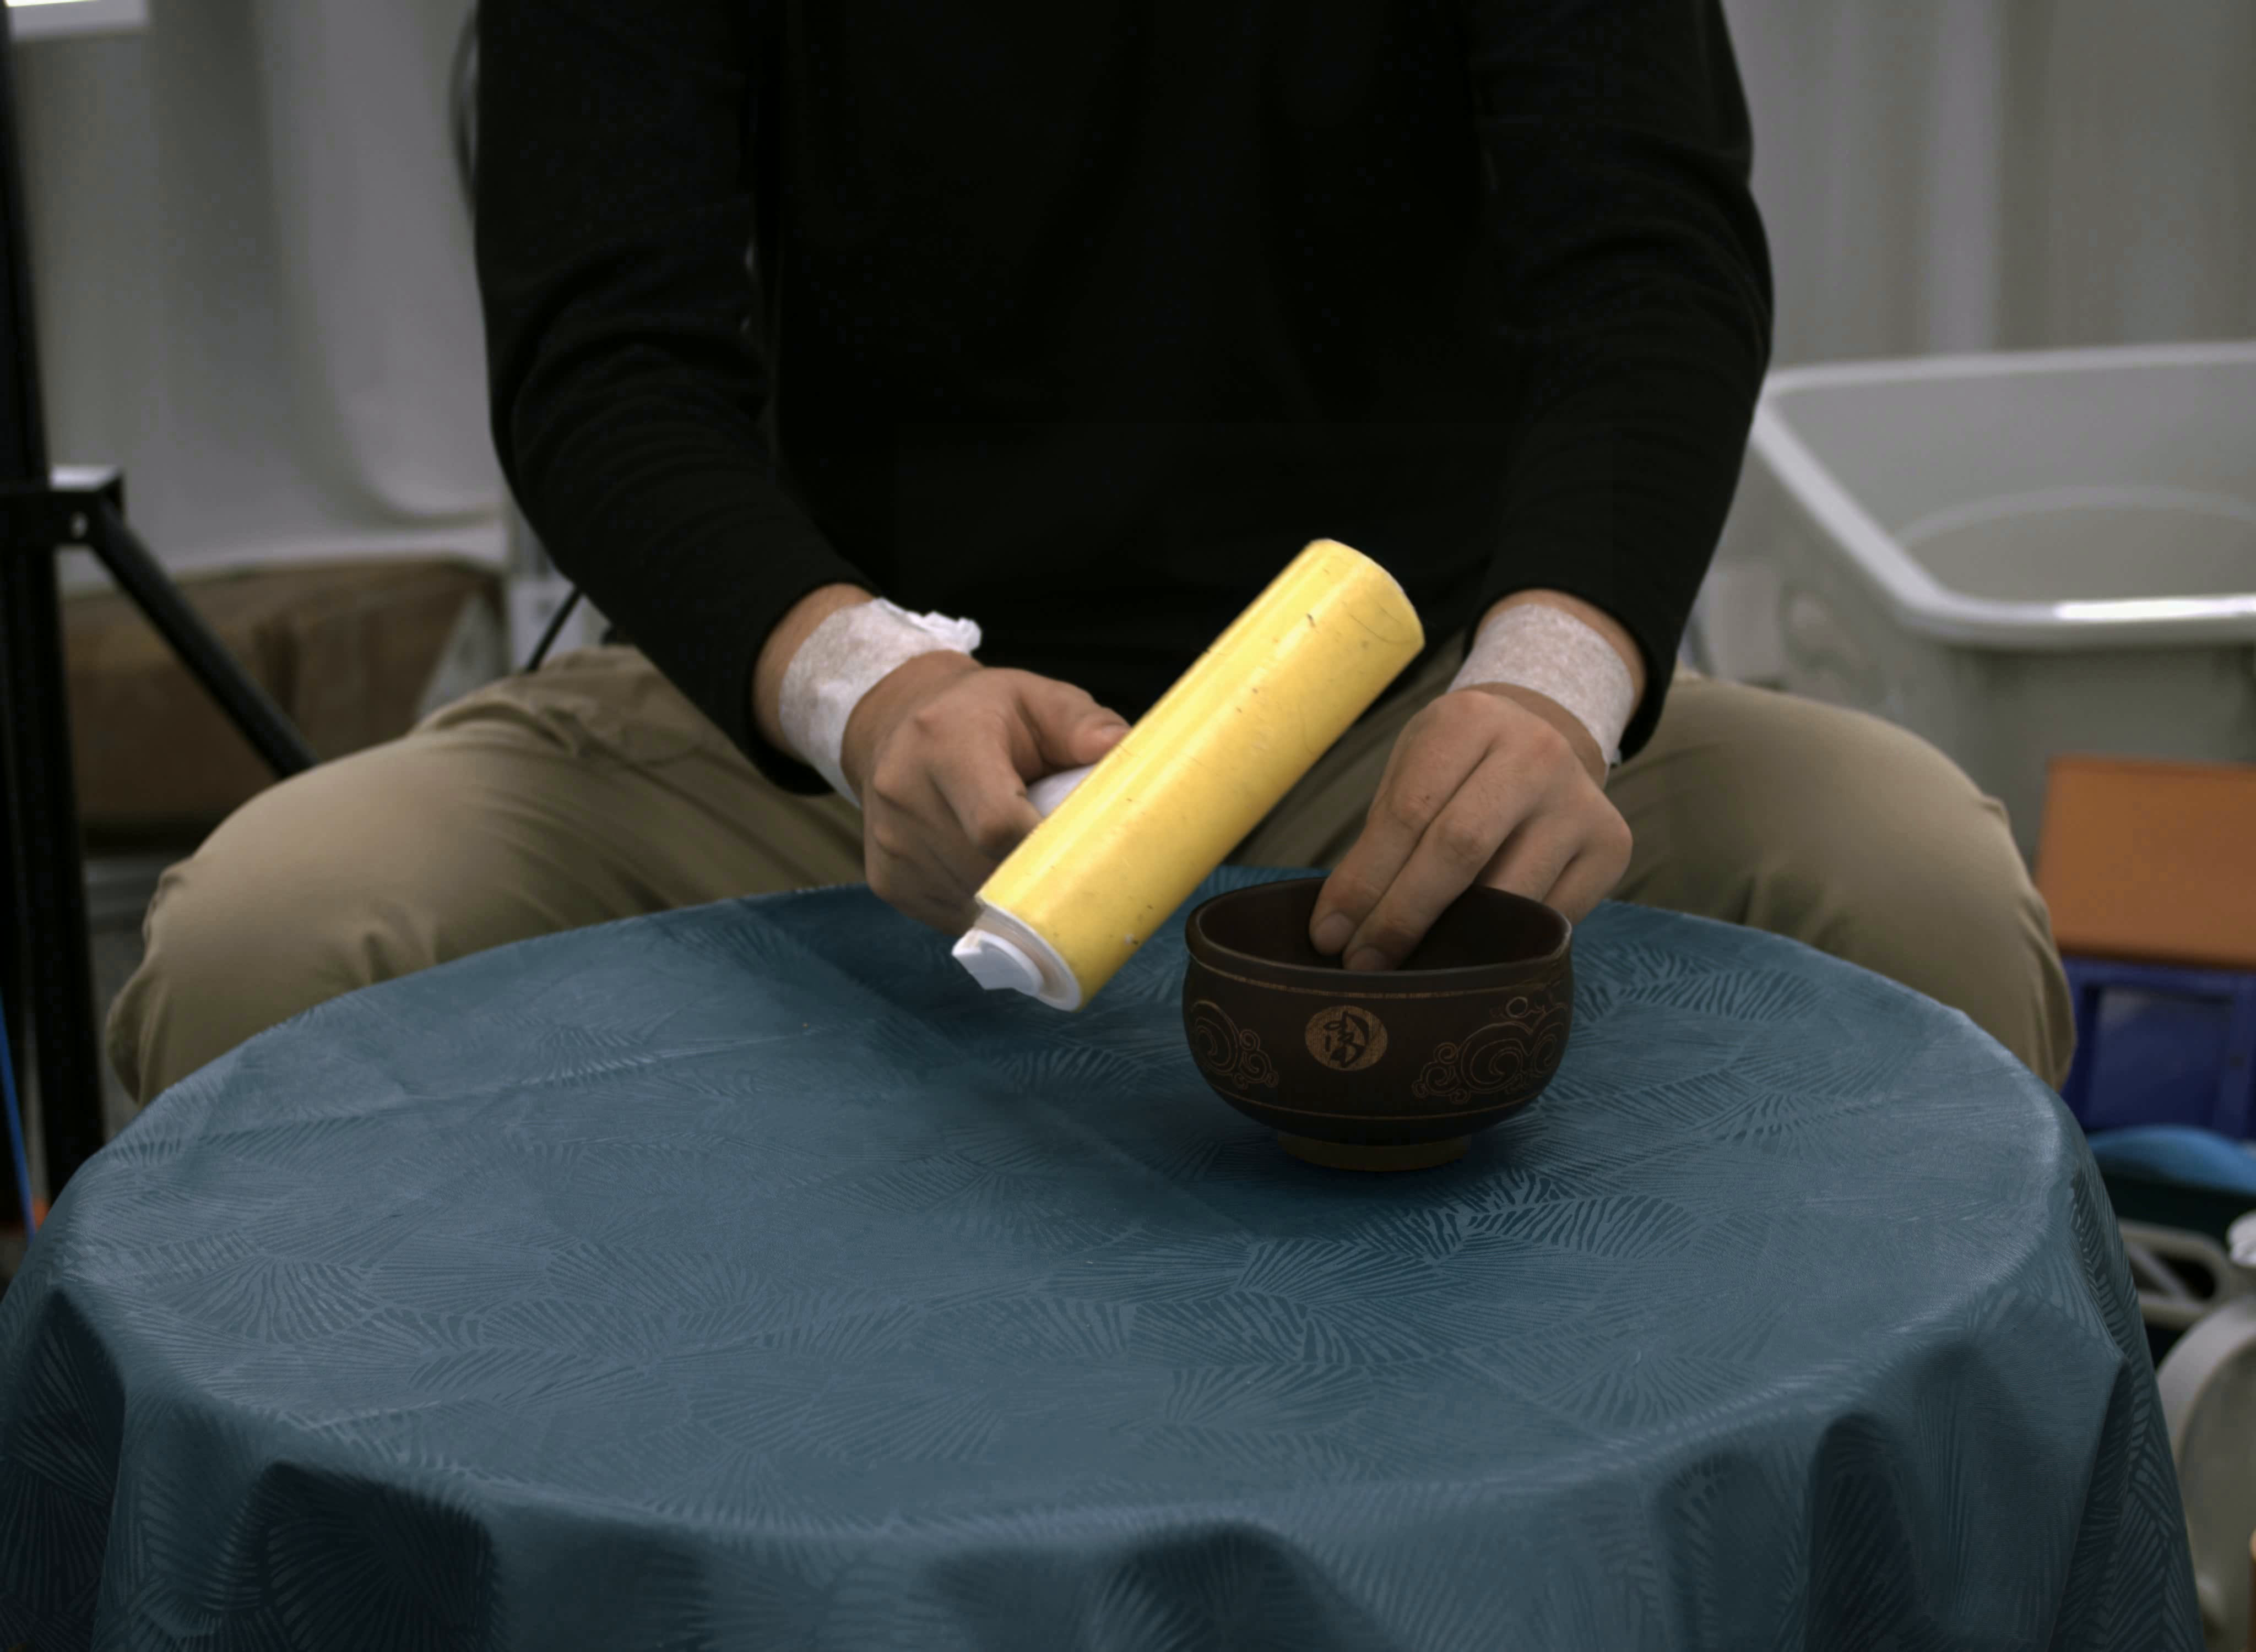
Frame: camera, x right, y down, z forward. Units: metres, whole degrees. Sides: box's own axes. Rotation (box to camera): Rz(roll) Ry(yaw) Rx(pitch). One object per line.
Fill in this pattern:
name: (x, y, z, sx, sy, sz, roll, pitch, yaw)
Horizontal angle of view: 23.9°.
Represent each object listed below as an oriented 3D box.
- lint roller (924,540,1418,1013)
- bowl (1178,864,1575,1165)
lint roller: (-0.019, -0.016, 1.653, 0.173, 0.051, 0.196, -47, 25, -22)
bowl: (0.073, 0.059, 1.575, 0.117, 0.070, 0.118, 1, 14, -2)
